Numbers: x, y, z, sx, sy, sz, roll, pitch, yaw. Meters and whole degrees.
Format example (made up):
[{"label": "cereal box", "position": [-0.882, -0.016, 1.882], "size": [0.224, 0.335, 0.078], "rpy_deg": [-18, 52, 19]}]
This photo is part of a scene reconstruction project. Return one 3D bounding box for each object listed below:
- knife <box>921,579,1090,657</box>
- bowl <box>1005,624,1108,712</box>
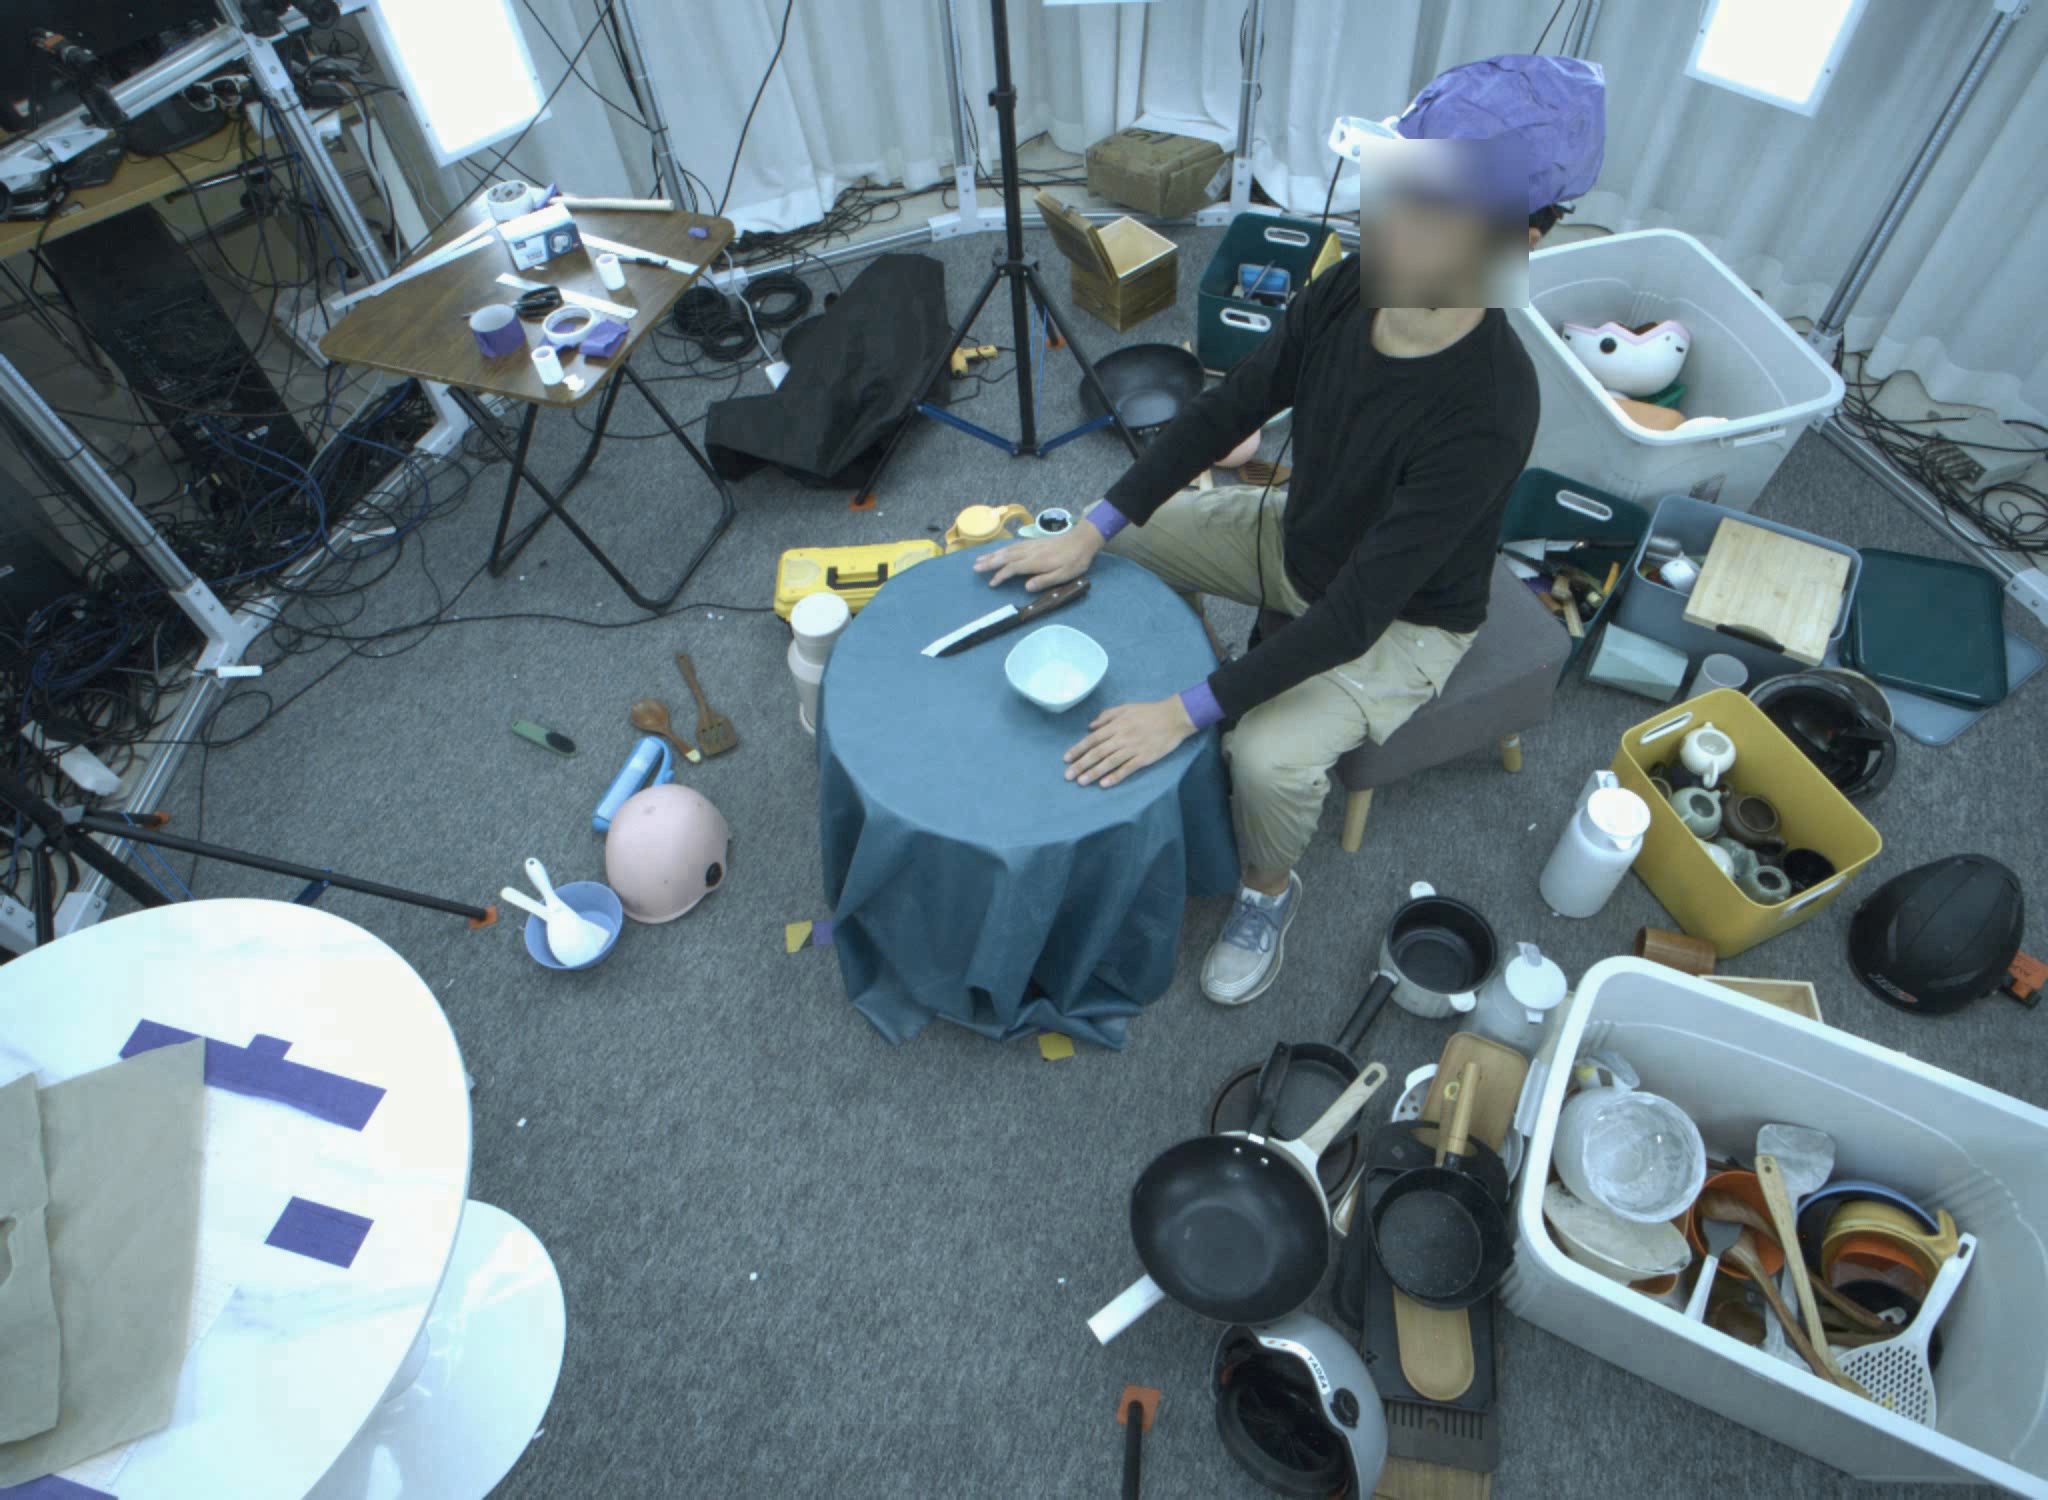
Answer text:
[{"label": "knife", "position": [-0.029, -0.206, 1.922], "size": [0.291, 0.020, 0.049], "rpy_deg": [-24, 52, -12]}, {"label": "bowl", "position": [0.050, -0.112, 1.827], "size": [0.151, 0.059, 0.150], "rpy_deg": [-1, 56, 3]}]
